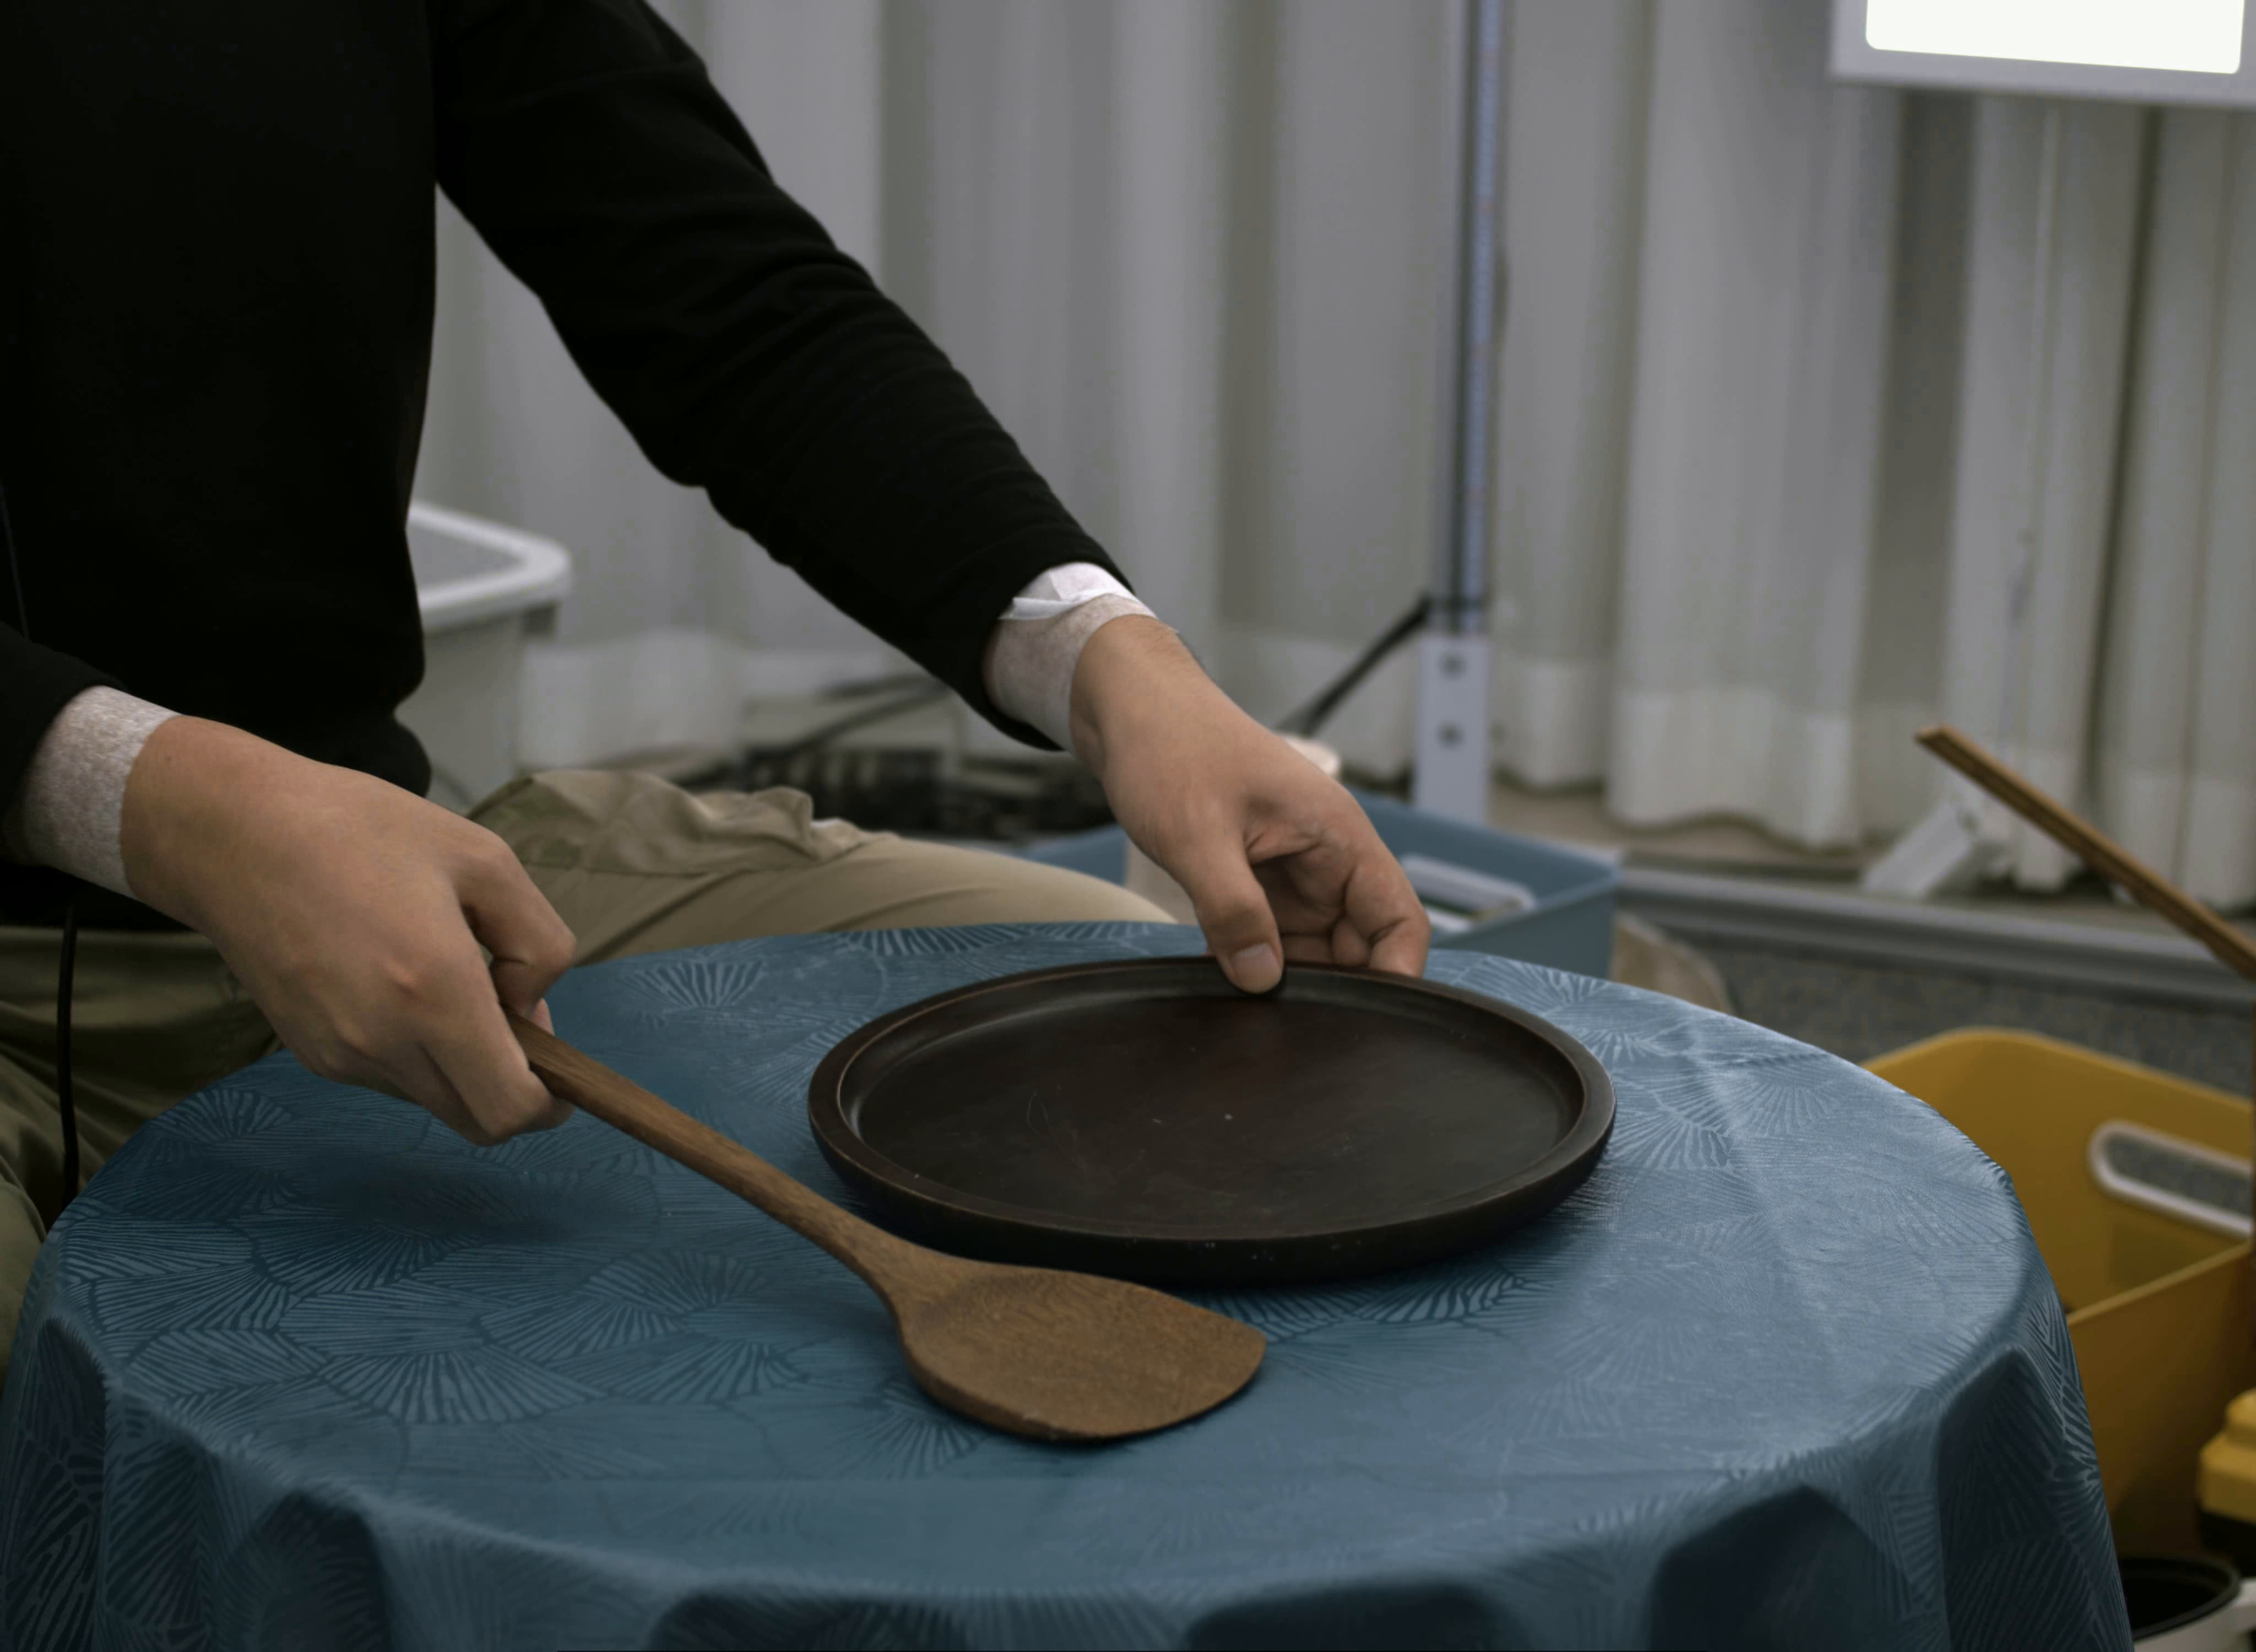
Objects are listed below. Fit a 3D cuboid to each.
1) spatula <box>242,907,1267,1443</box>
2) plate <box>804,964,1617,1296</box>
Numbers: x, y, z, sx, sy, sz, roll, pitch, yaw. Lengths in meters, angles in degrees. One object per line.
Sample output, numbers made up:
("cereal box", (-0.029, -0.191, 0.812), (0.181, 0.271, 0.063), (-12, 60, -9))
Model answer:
("spatula", (-0.126, 0.094, 1.541), (0.381, 0.016, 0.096), (26, 27, 31))
("plate", (0.025, 0.092, 1.642), (0.254, 0.029, 0.253), (1, 18, 0))
